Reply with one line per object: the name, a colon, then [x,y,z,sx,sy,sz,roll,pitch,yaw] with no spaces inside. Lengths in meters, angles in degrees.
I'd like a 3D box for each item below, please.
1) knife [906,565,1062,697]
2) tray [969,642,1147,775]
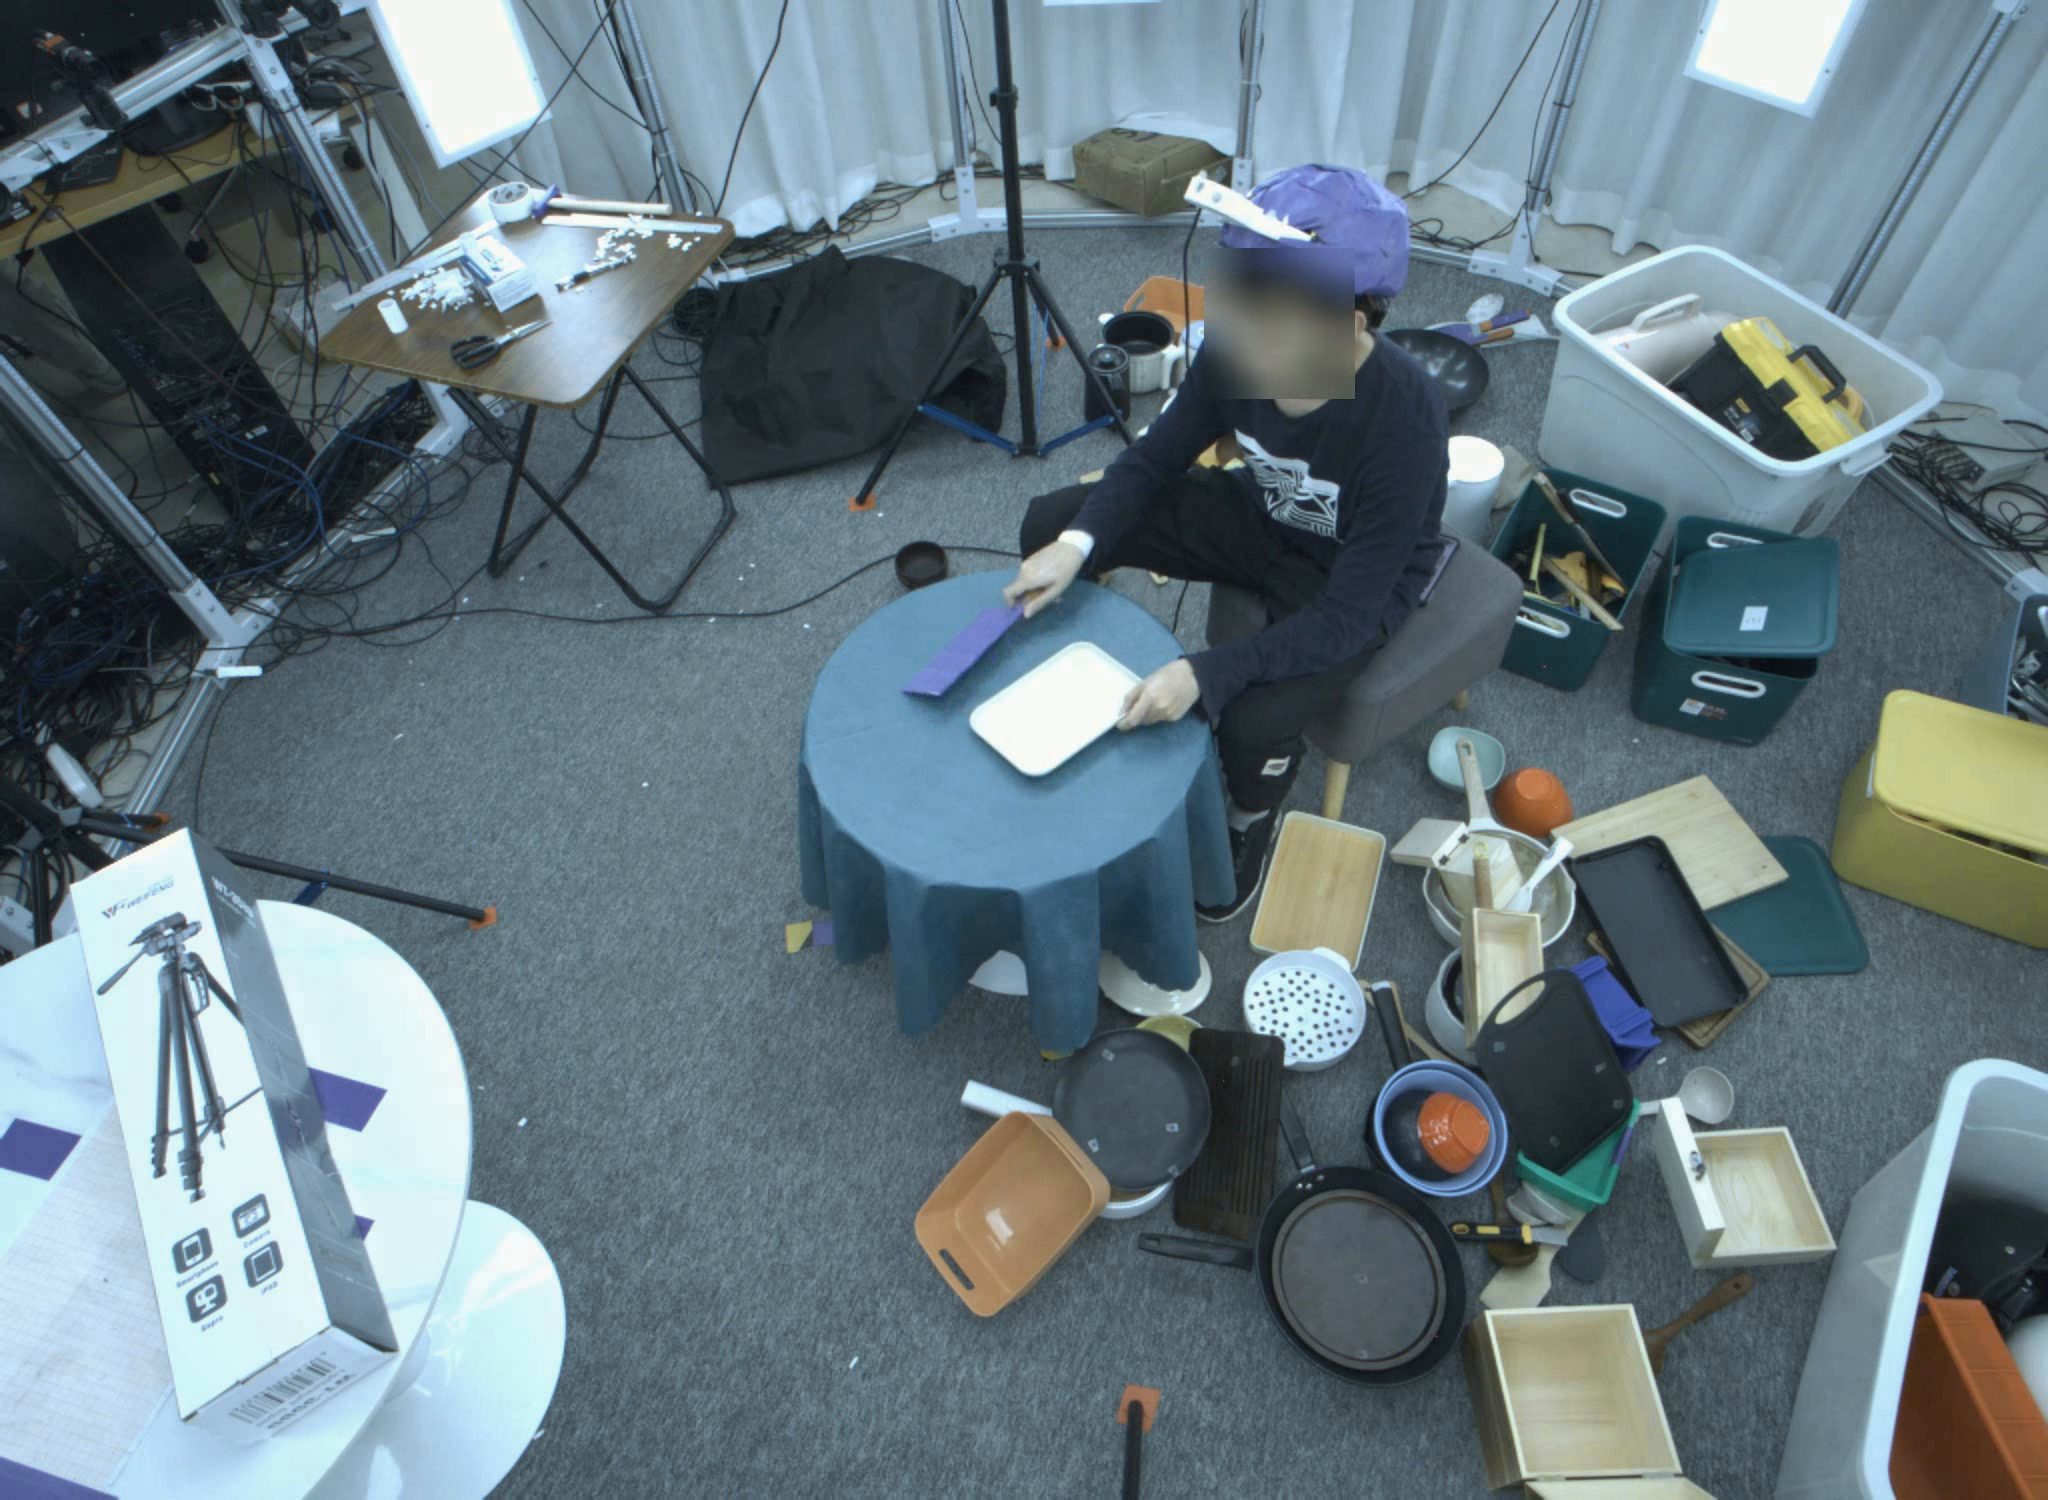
knife: [-0.064,-0.188,1.899,0.101,0.033,0.317,13,49,41]
tray: [0.051,-0.063,1.819,0.241,0.018,0.167,-35,54,-21]
